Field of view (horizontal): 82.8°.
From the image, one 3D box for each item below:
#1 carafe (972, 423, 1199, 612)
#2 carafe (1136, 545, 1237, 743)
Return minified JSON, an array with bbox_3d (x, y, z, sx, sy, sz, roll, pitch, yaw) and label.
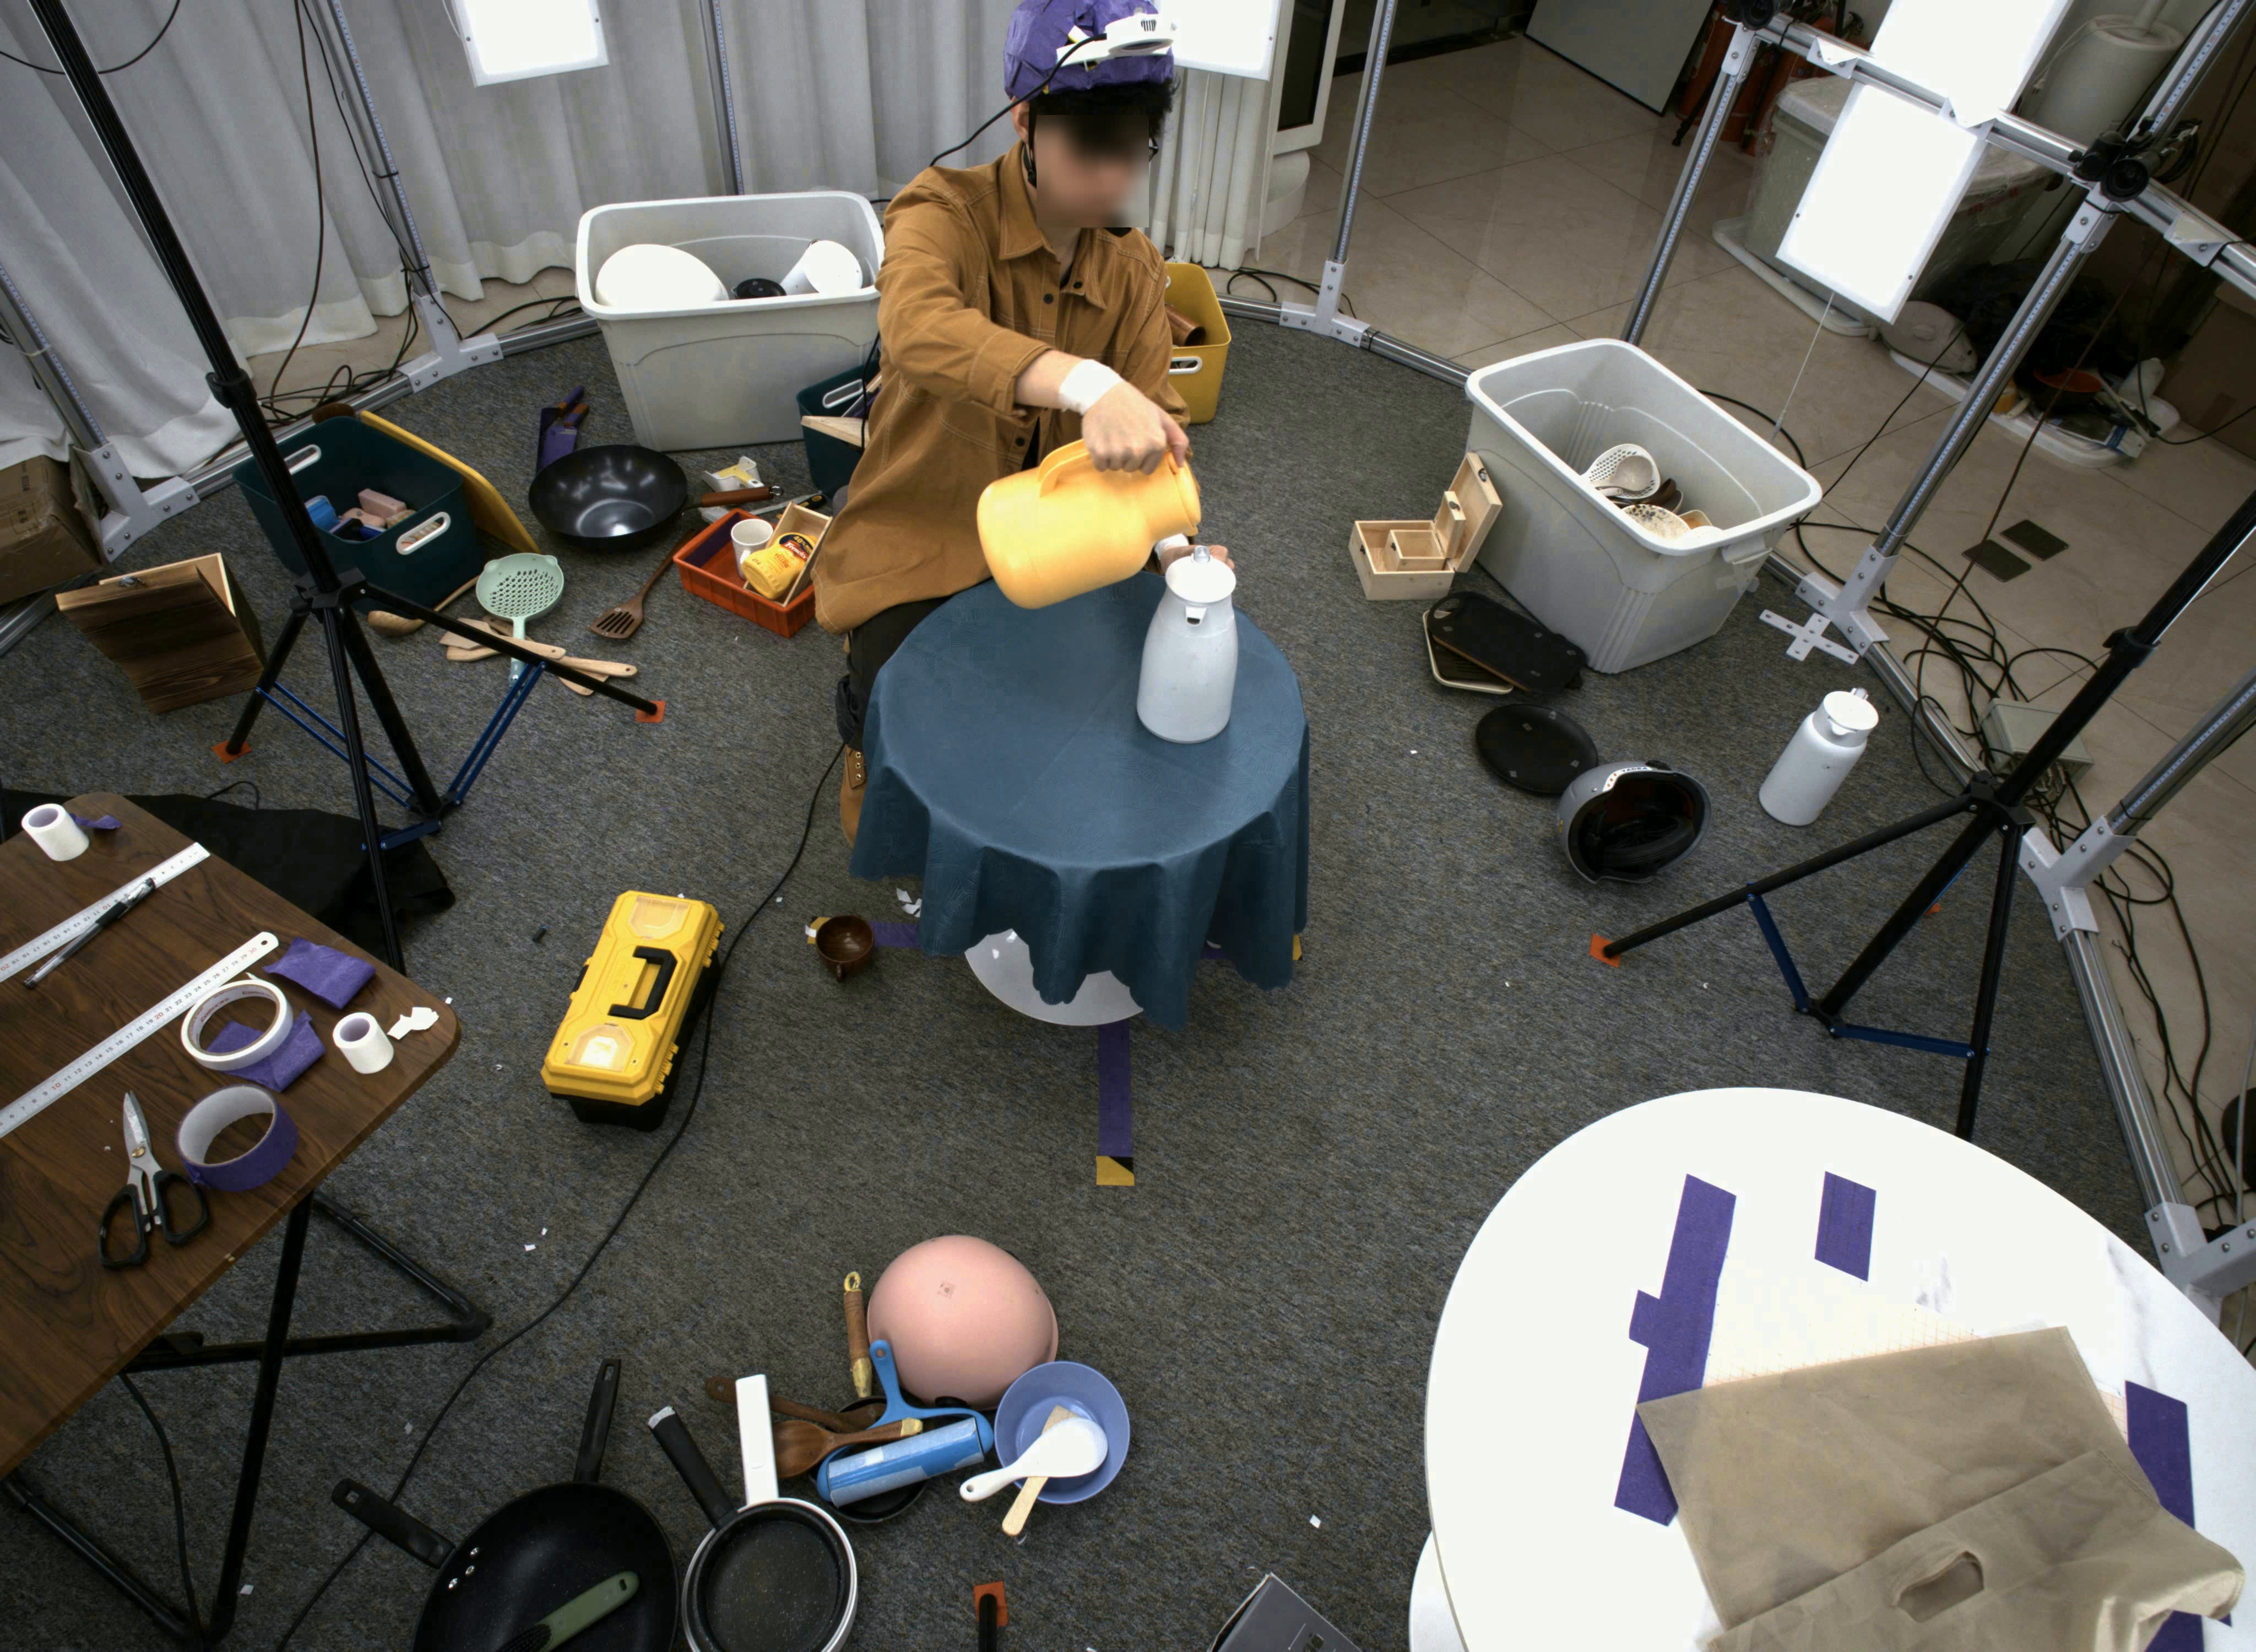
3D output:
[{"bbox_3d":[-0.053,-0.377,1.534,0.260,0.198,0.167,-18,57,12],"label":"carafe"},{"bbox_3d":[0.086,-0.258,1.738,0.132,0.242,0.172,8,49,3],"label":"carafe"}]
